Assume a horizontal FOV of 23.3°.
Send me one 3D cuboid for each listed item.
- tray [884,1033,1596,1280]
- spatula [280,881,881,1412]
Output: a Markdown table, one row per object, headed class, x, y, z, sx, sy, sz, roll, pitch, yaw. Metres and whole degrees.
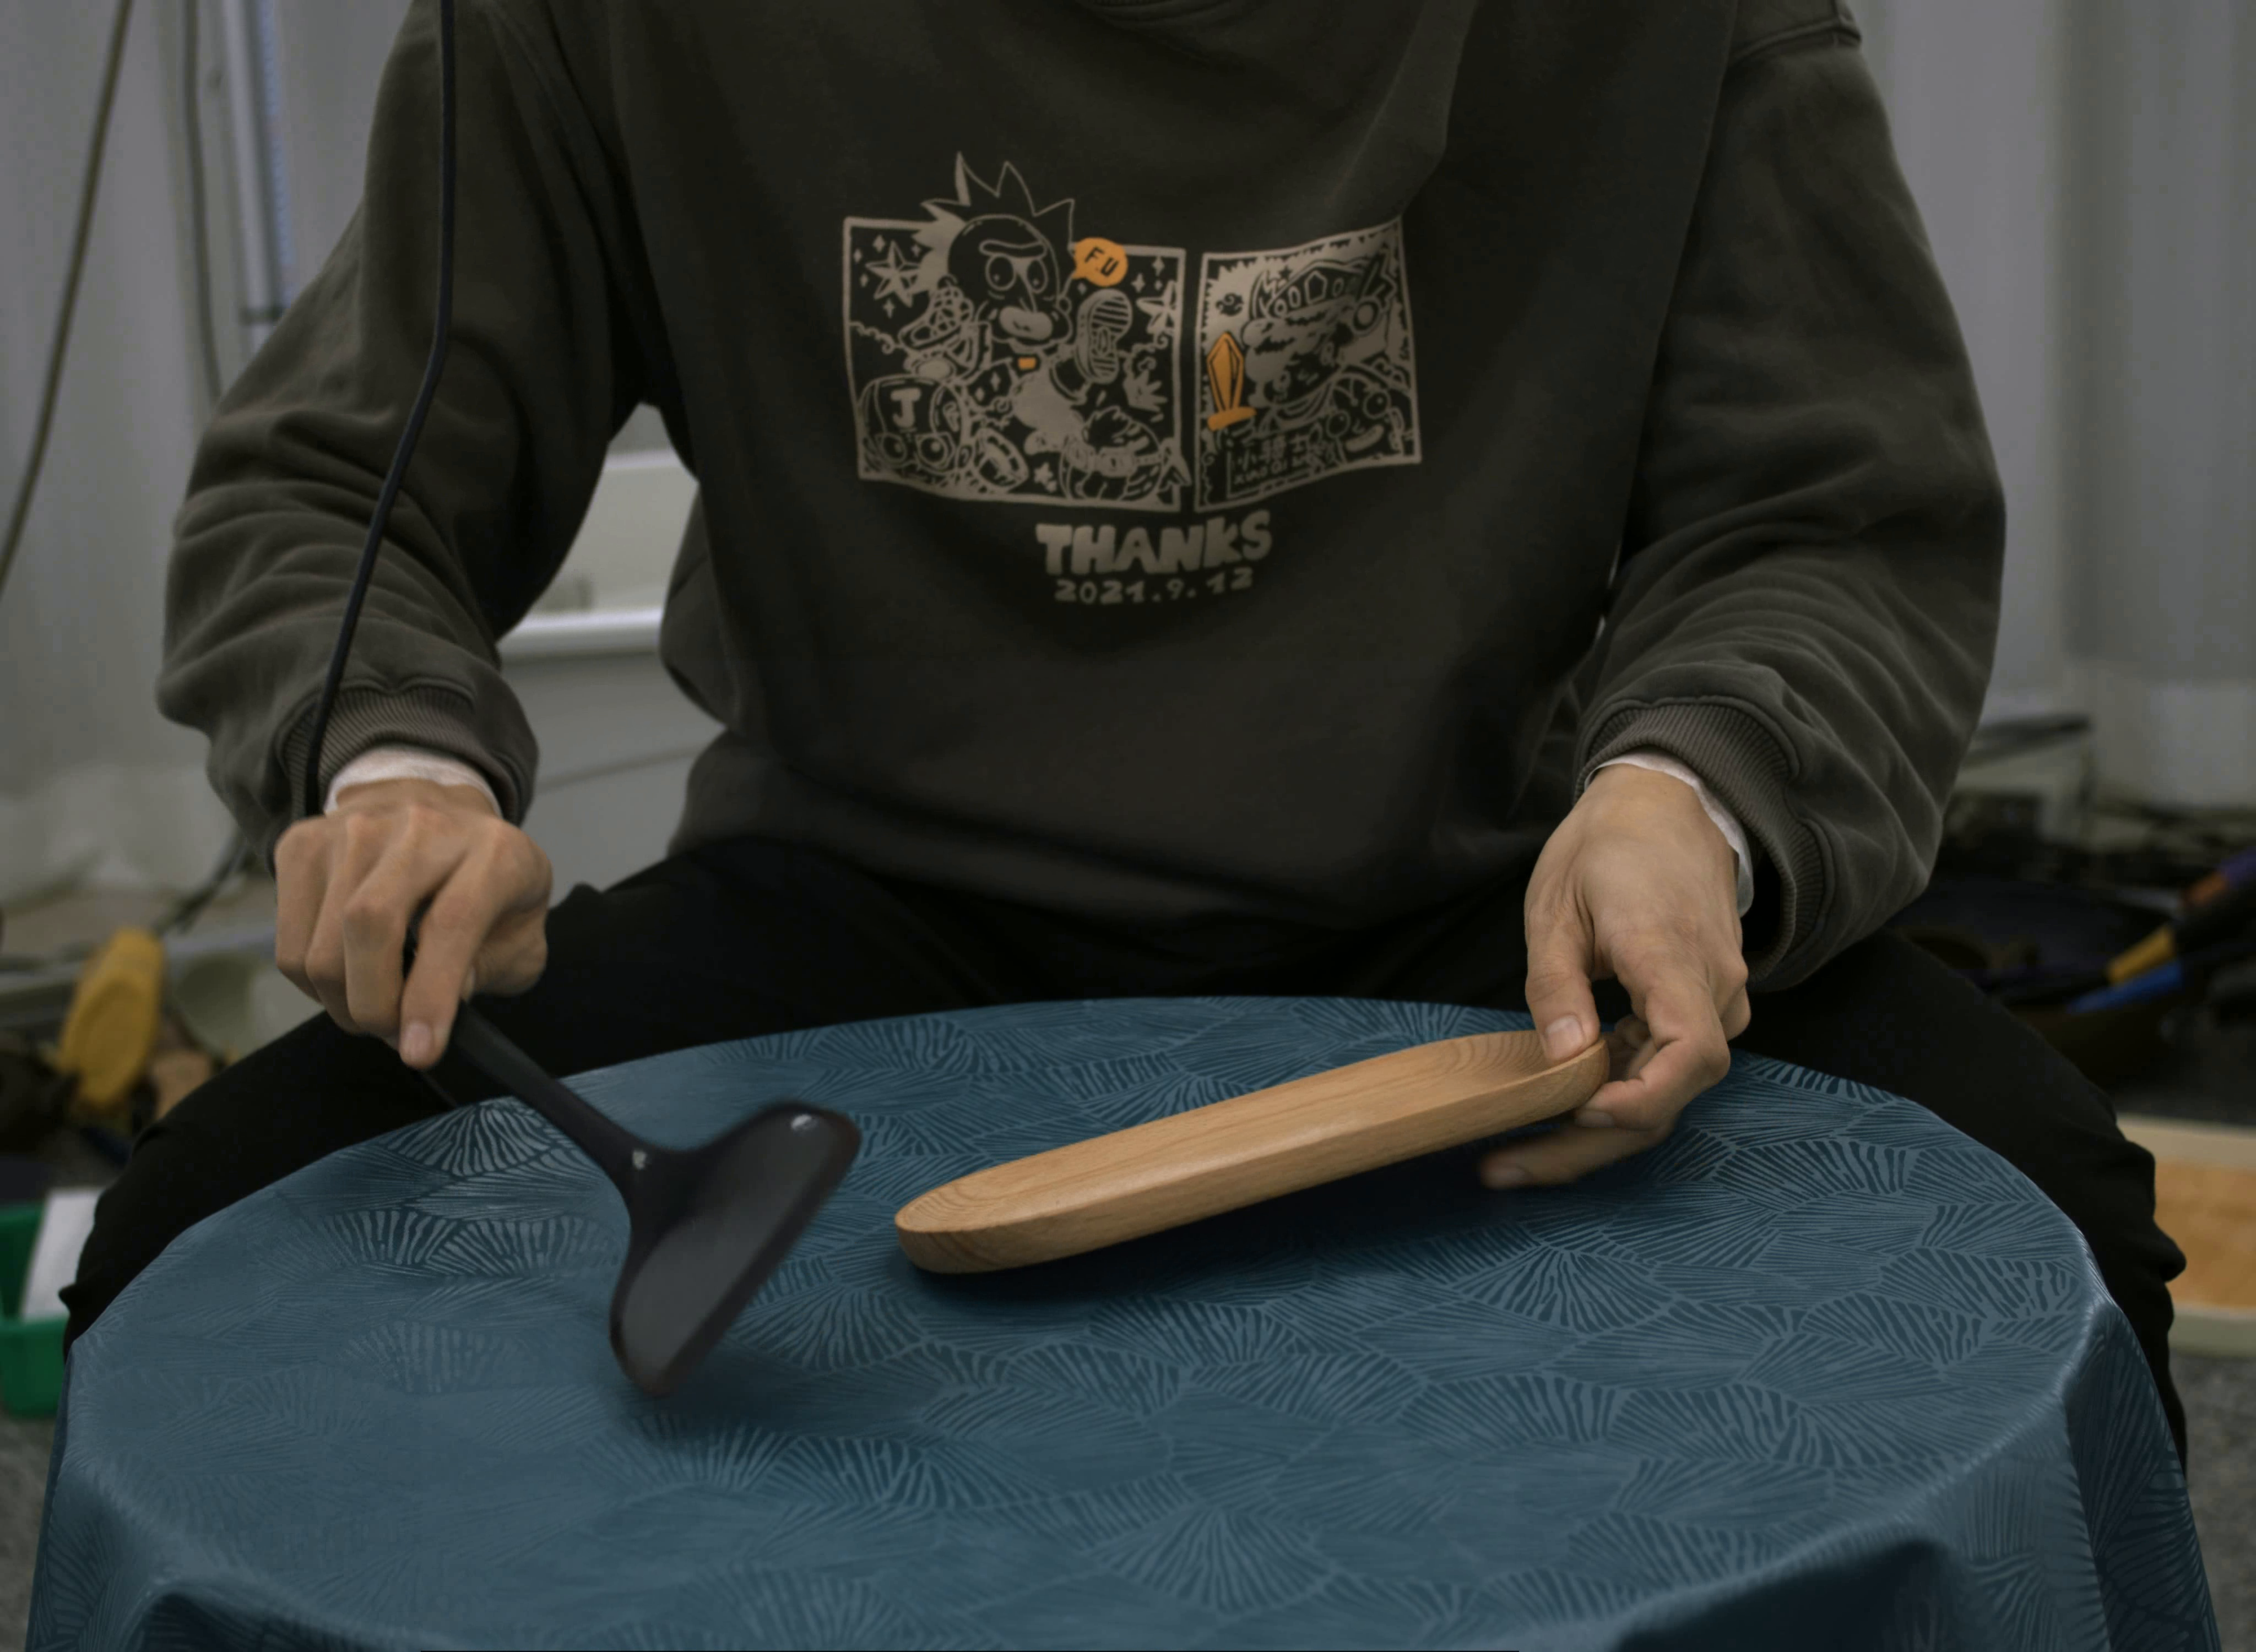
| class | x | y | z | sx | sy | sz | roll | pitch | yaw |
| --- | --- | --- | --- | --- | --- | --- | --- | --- | --- |
| tray | 0.036 | 0.101 | 1.679 | 0.230 | 0.020 | 0.102 | -16 | 8 | -18 |
| spatula | -0.184 | 0.078 | 1.656 | 0.100 | 0.040 | 0.329 | -48 | 44 | -9 |
